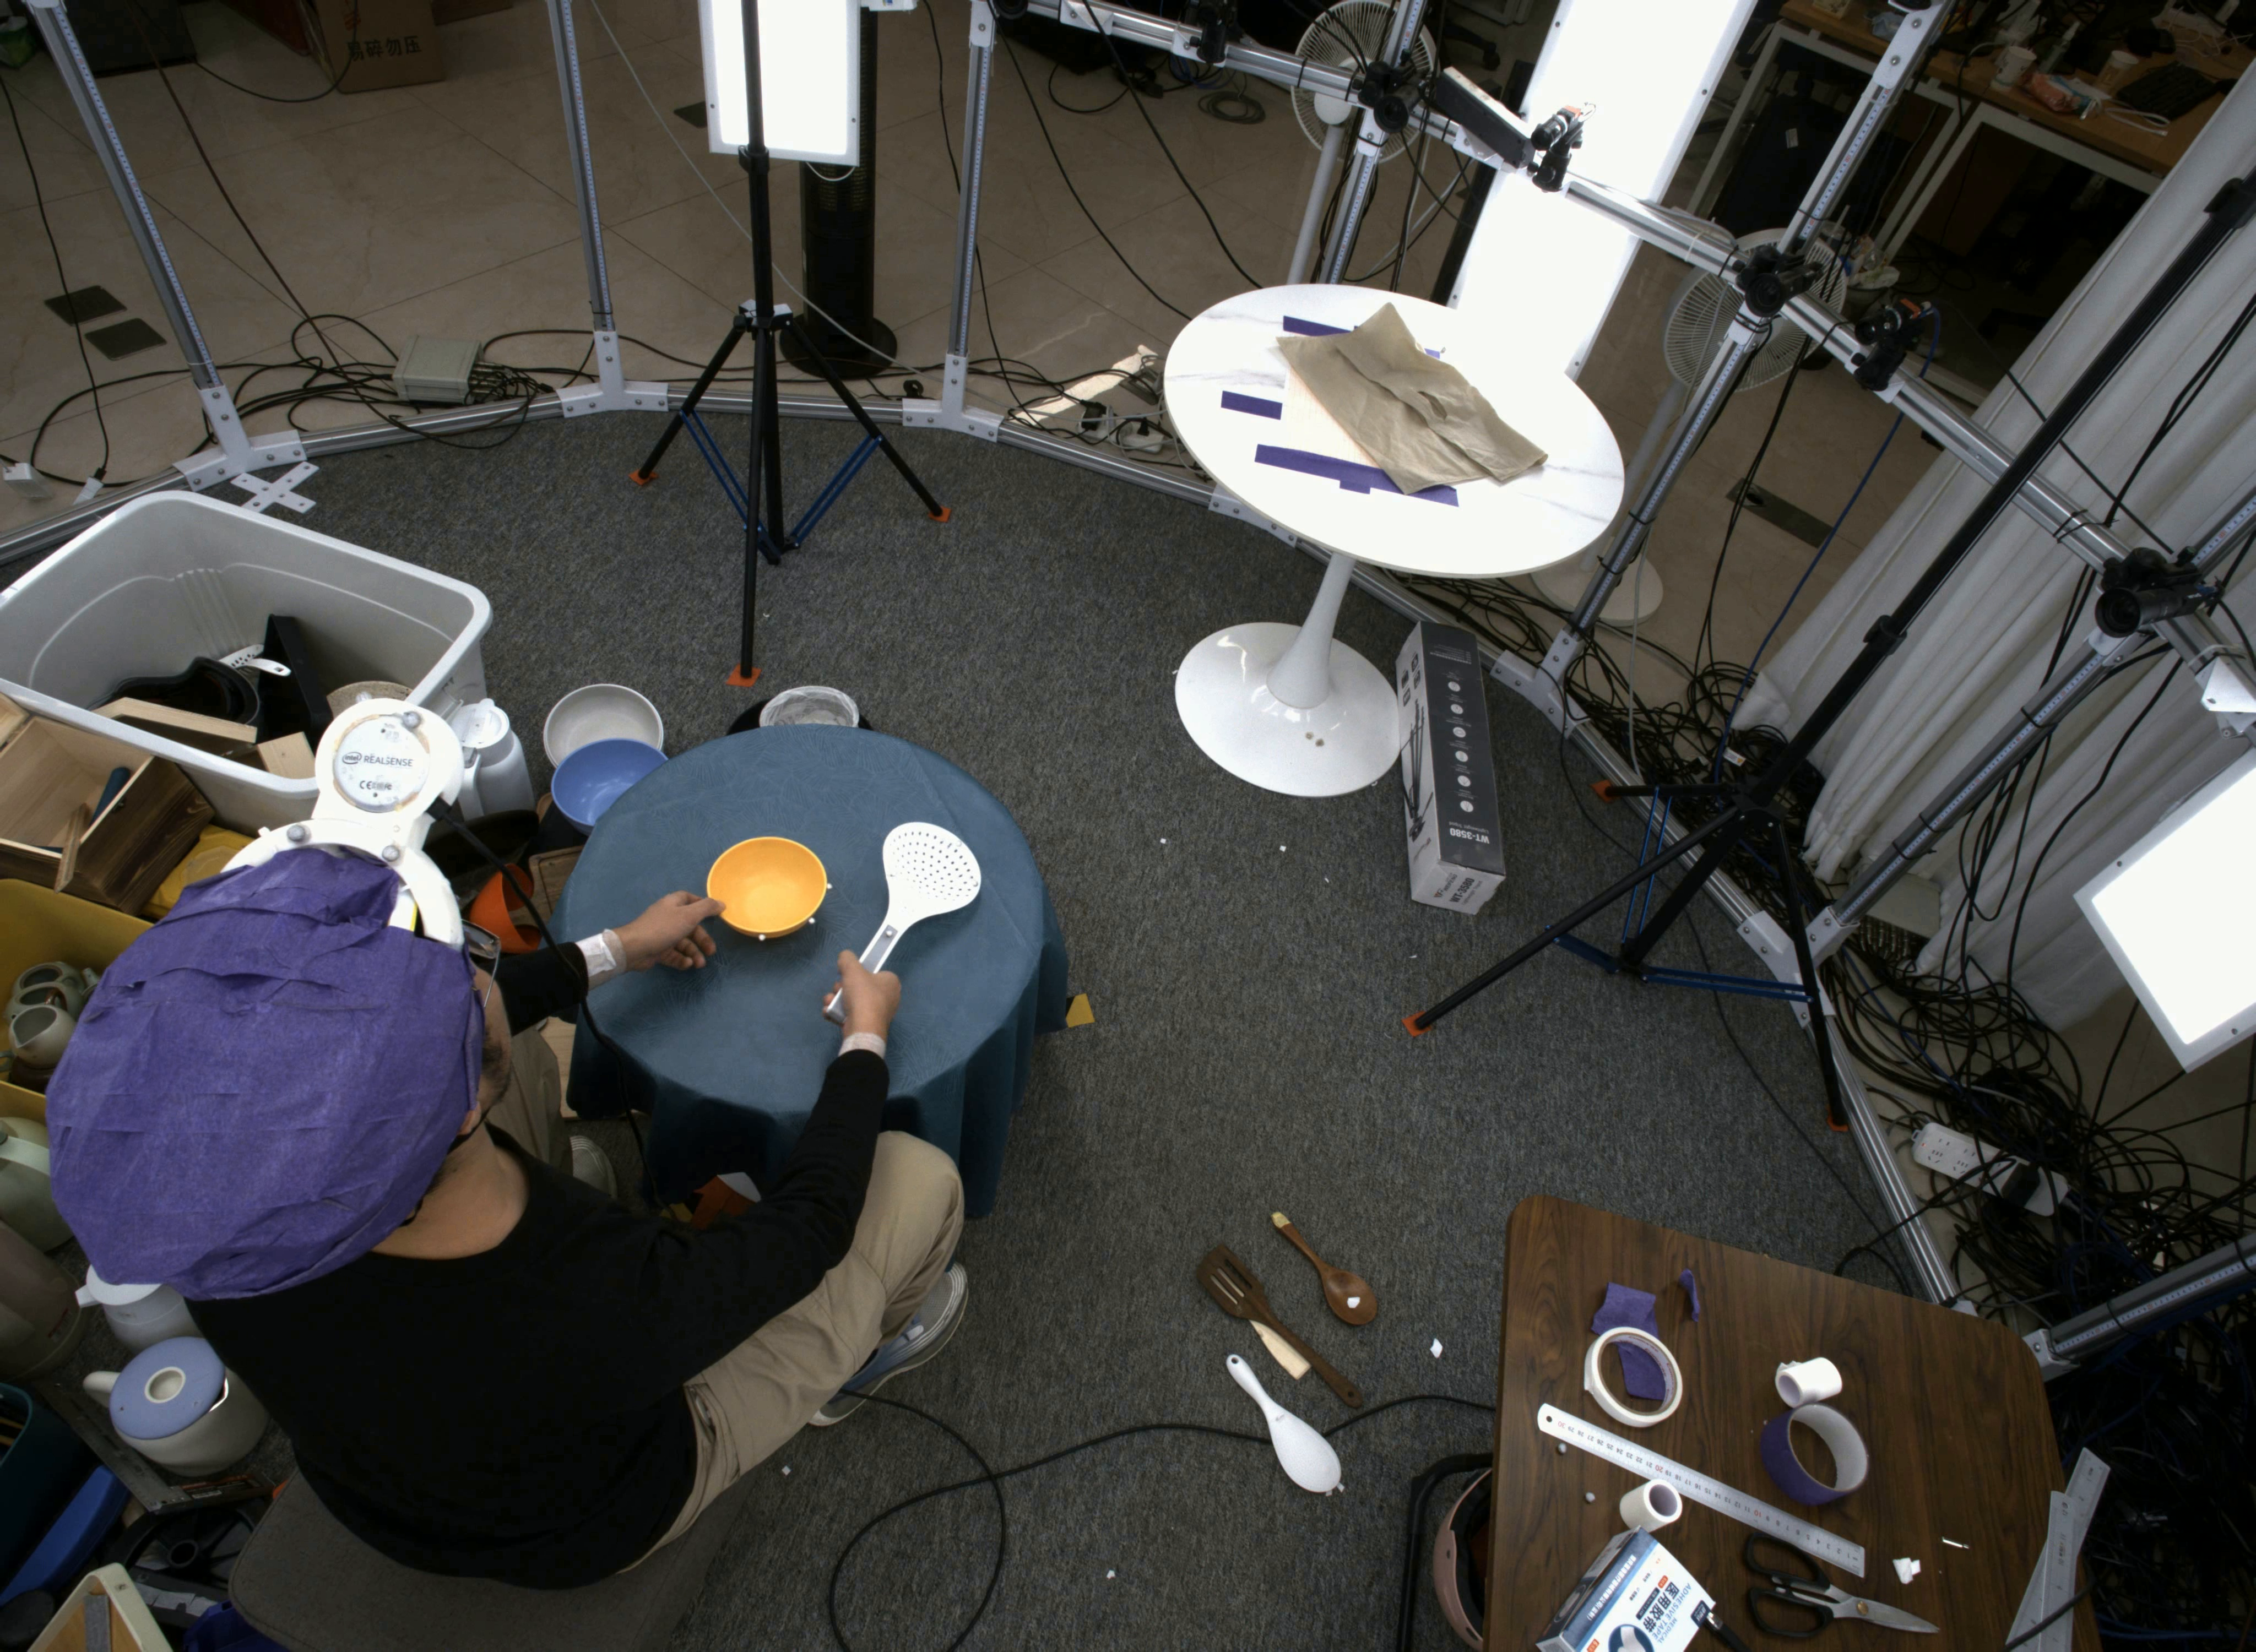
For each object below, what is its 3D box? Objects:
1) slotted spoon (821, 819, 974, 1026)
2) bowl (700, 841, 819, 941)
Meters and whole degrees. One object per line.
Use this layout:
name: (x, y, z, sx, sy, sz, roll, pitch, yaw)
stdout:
slotted spoon: (-0.290, 0.114, 1.596, 0.137, 0.046, 0.345, 36, 35, -11)
bowl: (-0.455, 0.090, 1.607, 0.145, 0.061, 0.142, 8, 50, -8)
